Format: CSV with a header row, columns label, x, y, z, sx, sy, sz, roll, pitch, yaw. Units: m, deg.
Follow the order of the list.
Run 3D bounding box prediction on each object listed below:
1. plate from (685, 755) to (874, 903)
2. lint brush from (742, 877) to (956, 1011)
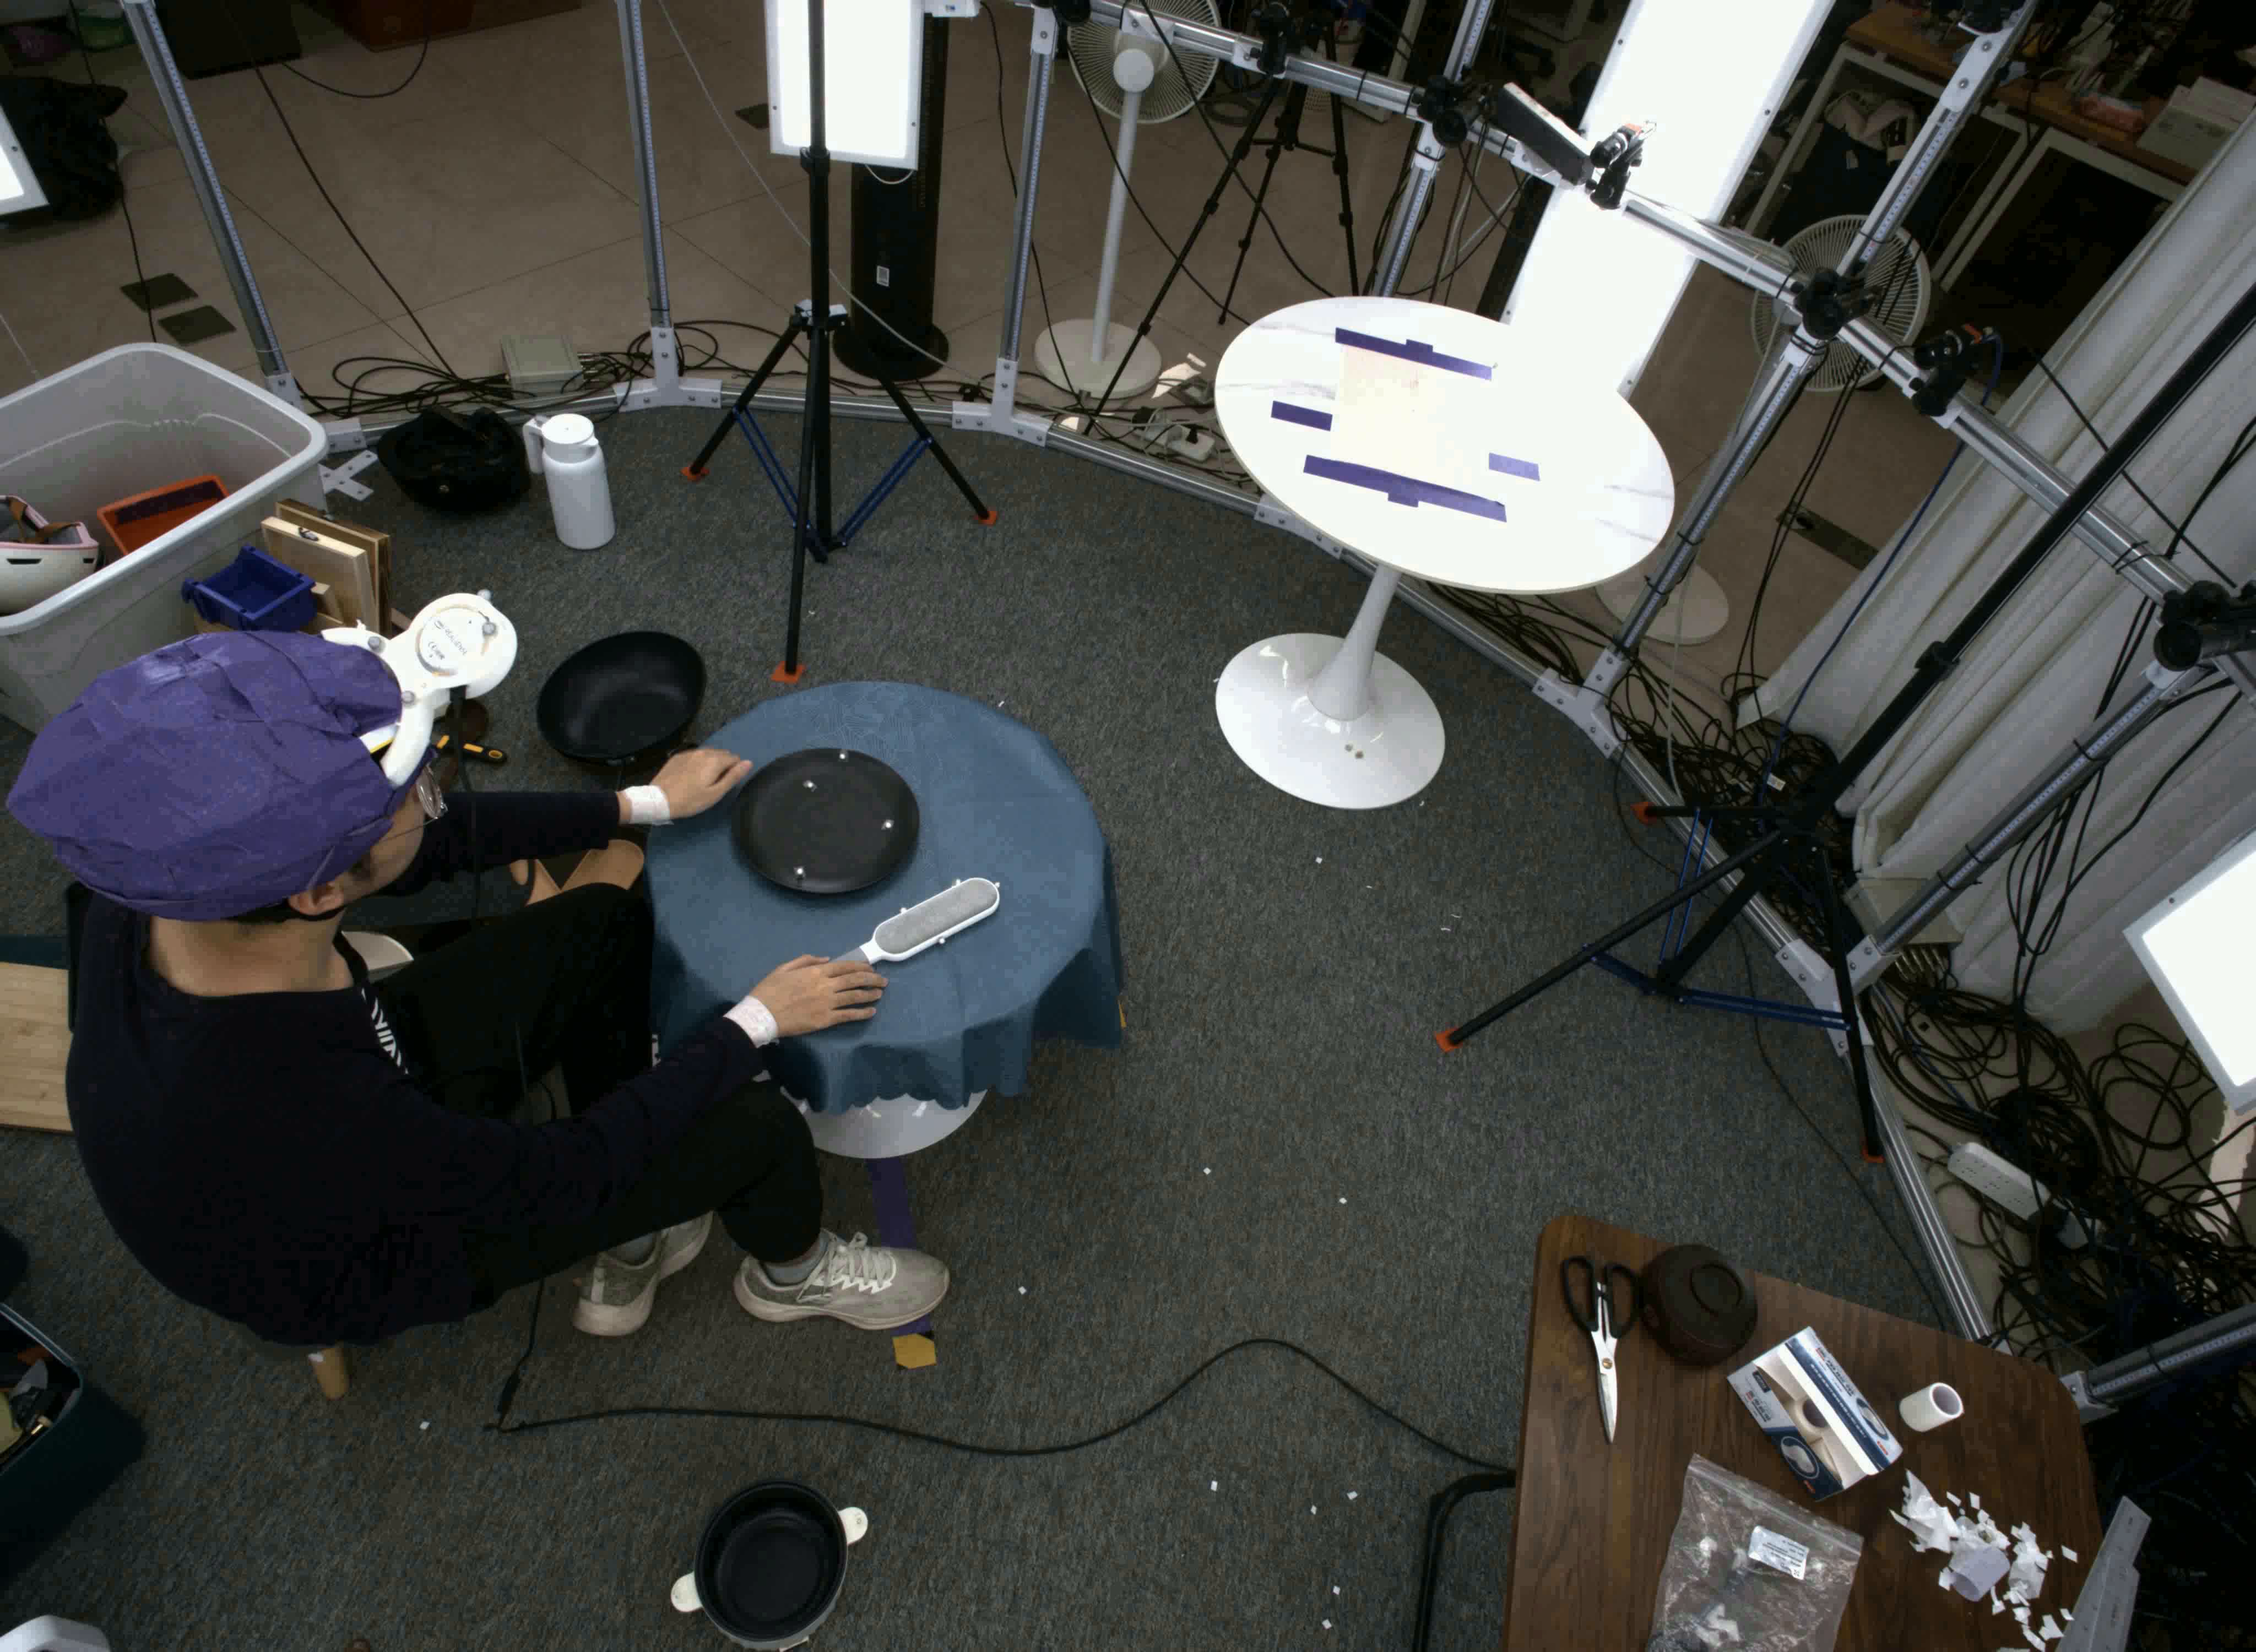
label,x,y,z,sx,sy,sz,roll,pitch,yaw
plate,-0.459,0.004,1.708,0.244,0.024,0.240,8,52,-9
lint brush,-0.347,0.144,1.630,0.310,0.021,0.059,-30,71,-31
